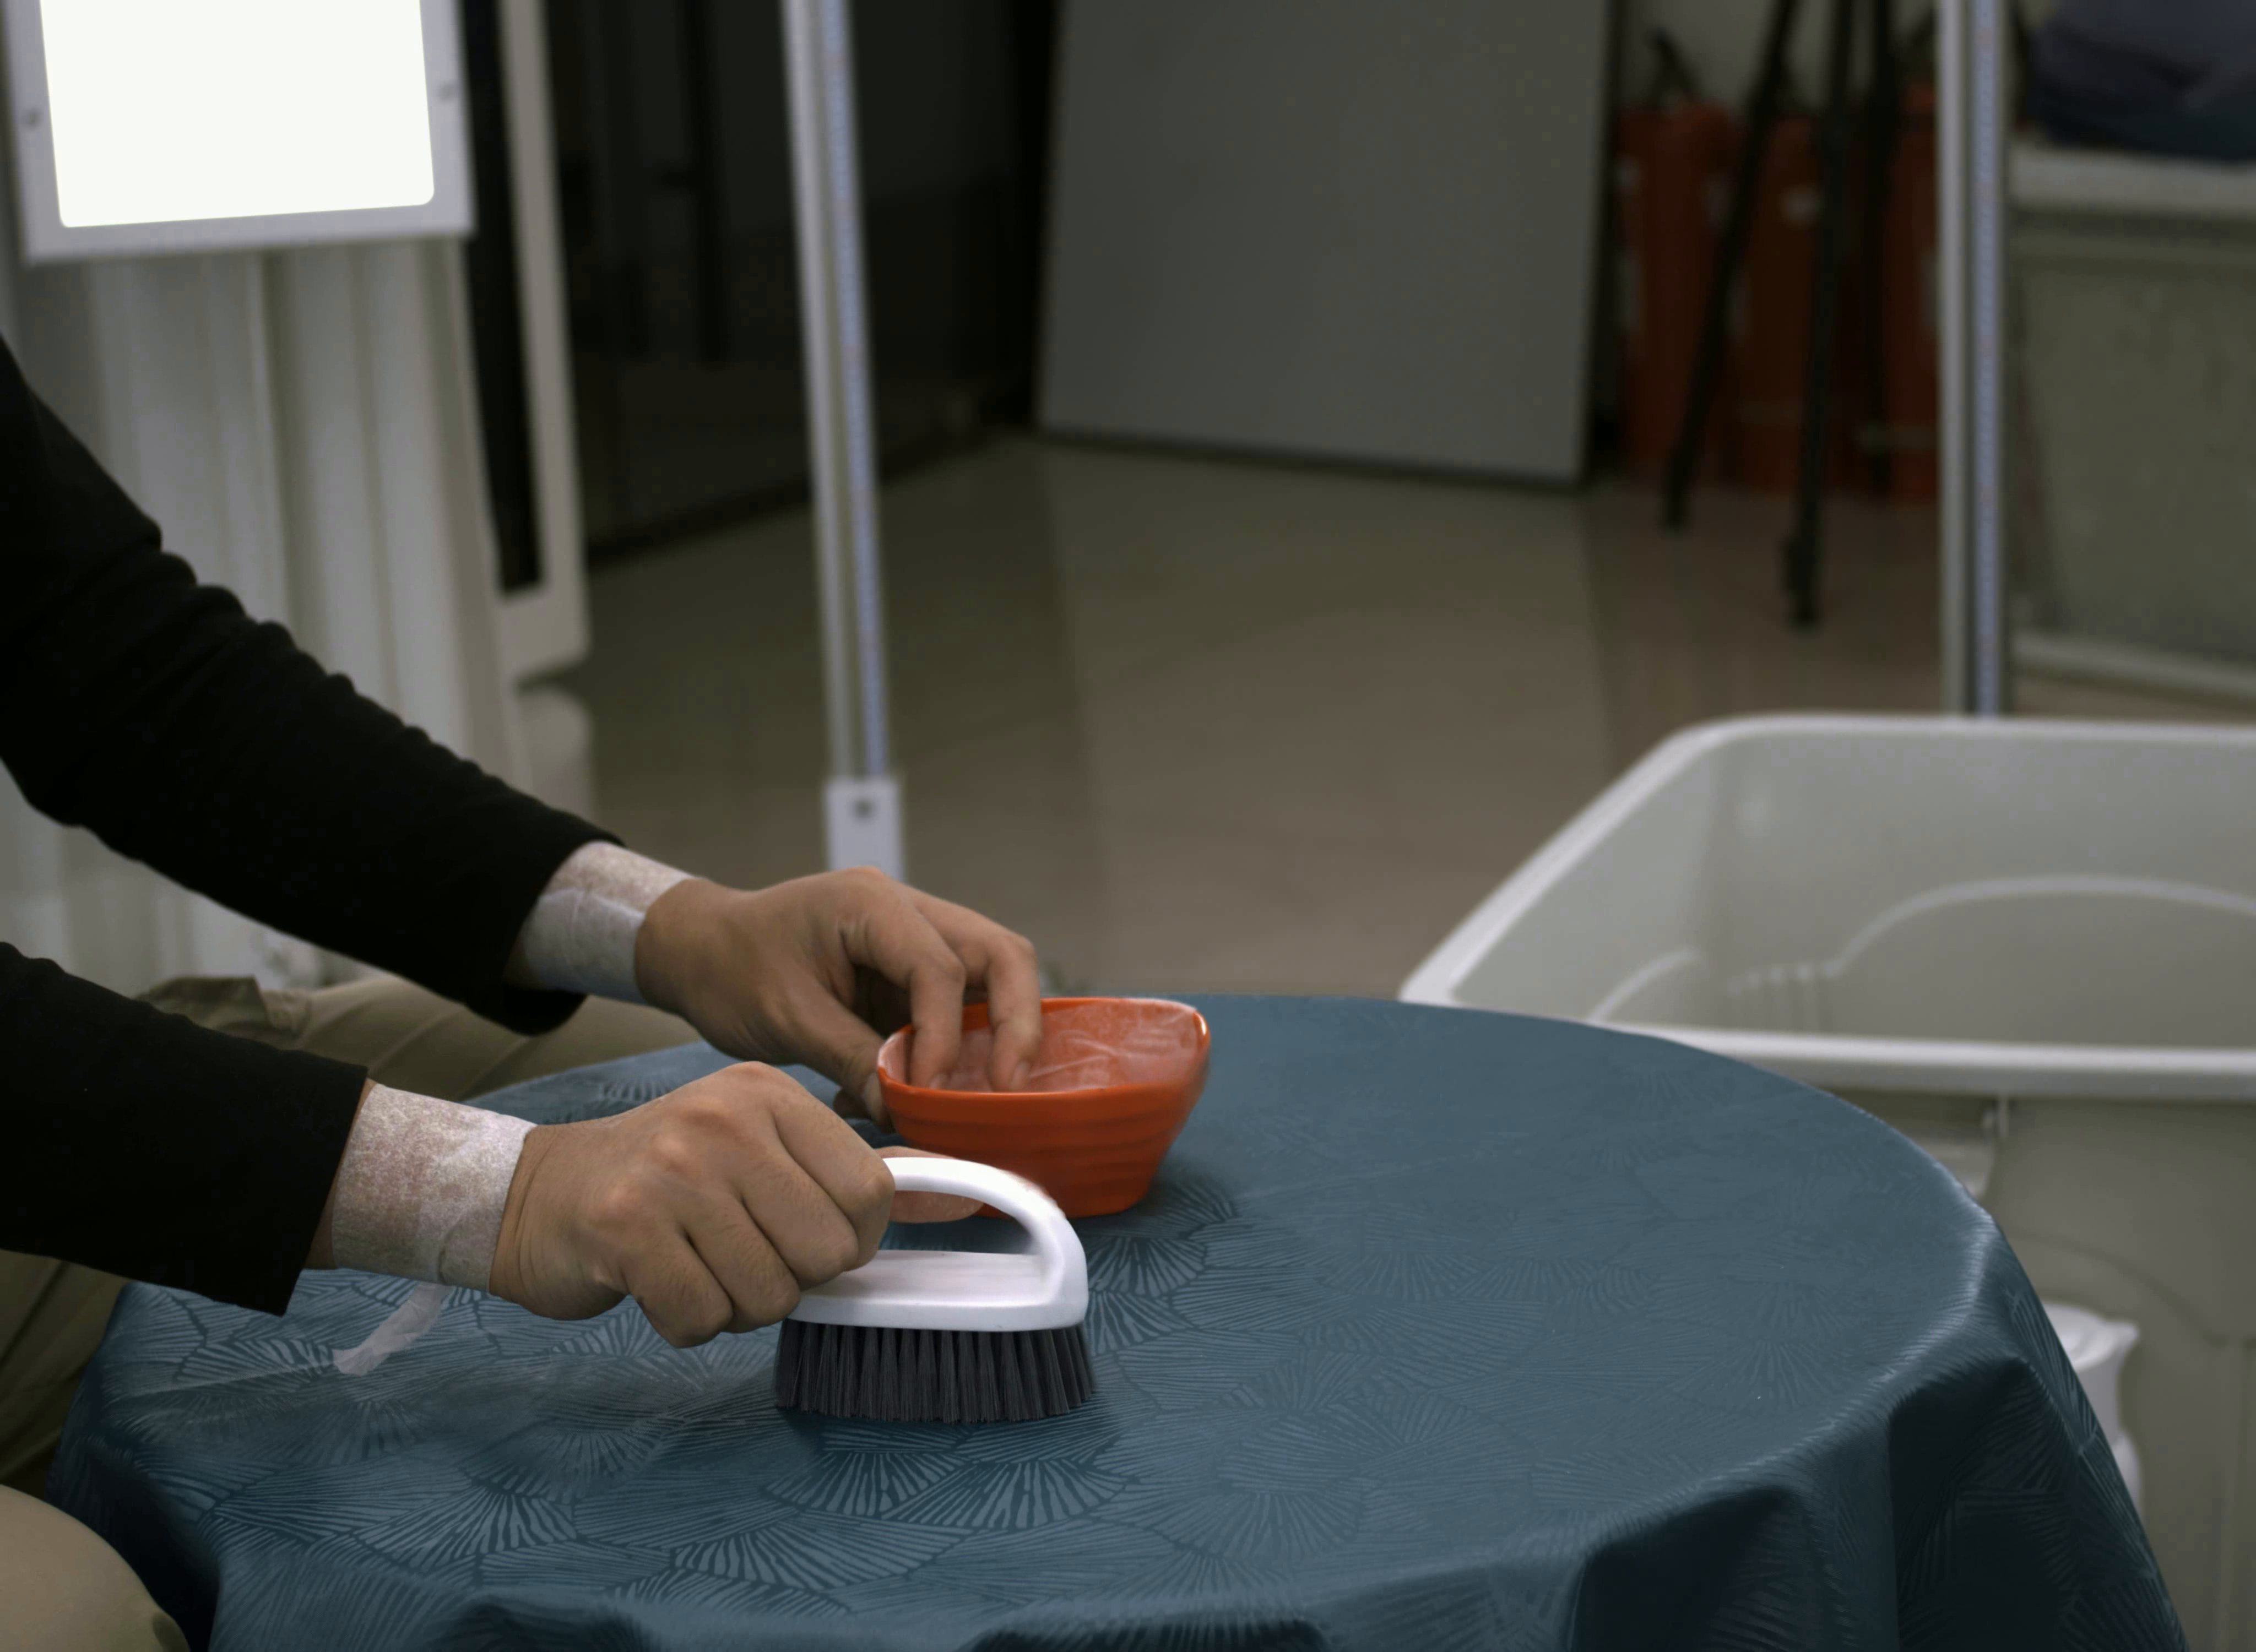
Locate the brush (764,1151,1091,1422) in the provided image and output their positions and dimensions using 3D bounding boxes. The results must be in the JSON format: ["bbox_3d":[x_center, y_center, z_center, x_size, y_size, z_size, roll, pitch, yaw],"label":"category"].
[{"bbox_3d":[-0.060,0.132,1.587,0.099,0.073,0.050,1,15,21],"label":"brush"}]

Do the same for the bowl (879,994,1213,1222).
[{"bbox_3d":[-0.026,0.095,1.773,0.117,0.052,0.119,-2,16,0],"label":"bowl"}]
